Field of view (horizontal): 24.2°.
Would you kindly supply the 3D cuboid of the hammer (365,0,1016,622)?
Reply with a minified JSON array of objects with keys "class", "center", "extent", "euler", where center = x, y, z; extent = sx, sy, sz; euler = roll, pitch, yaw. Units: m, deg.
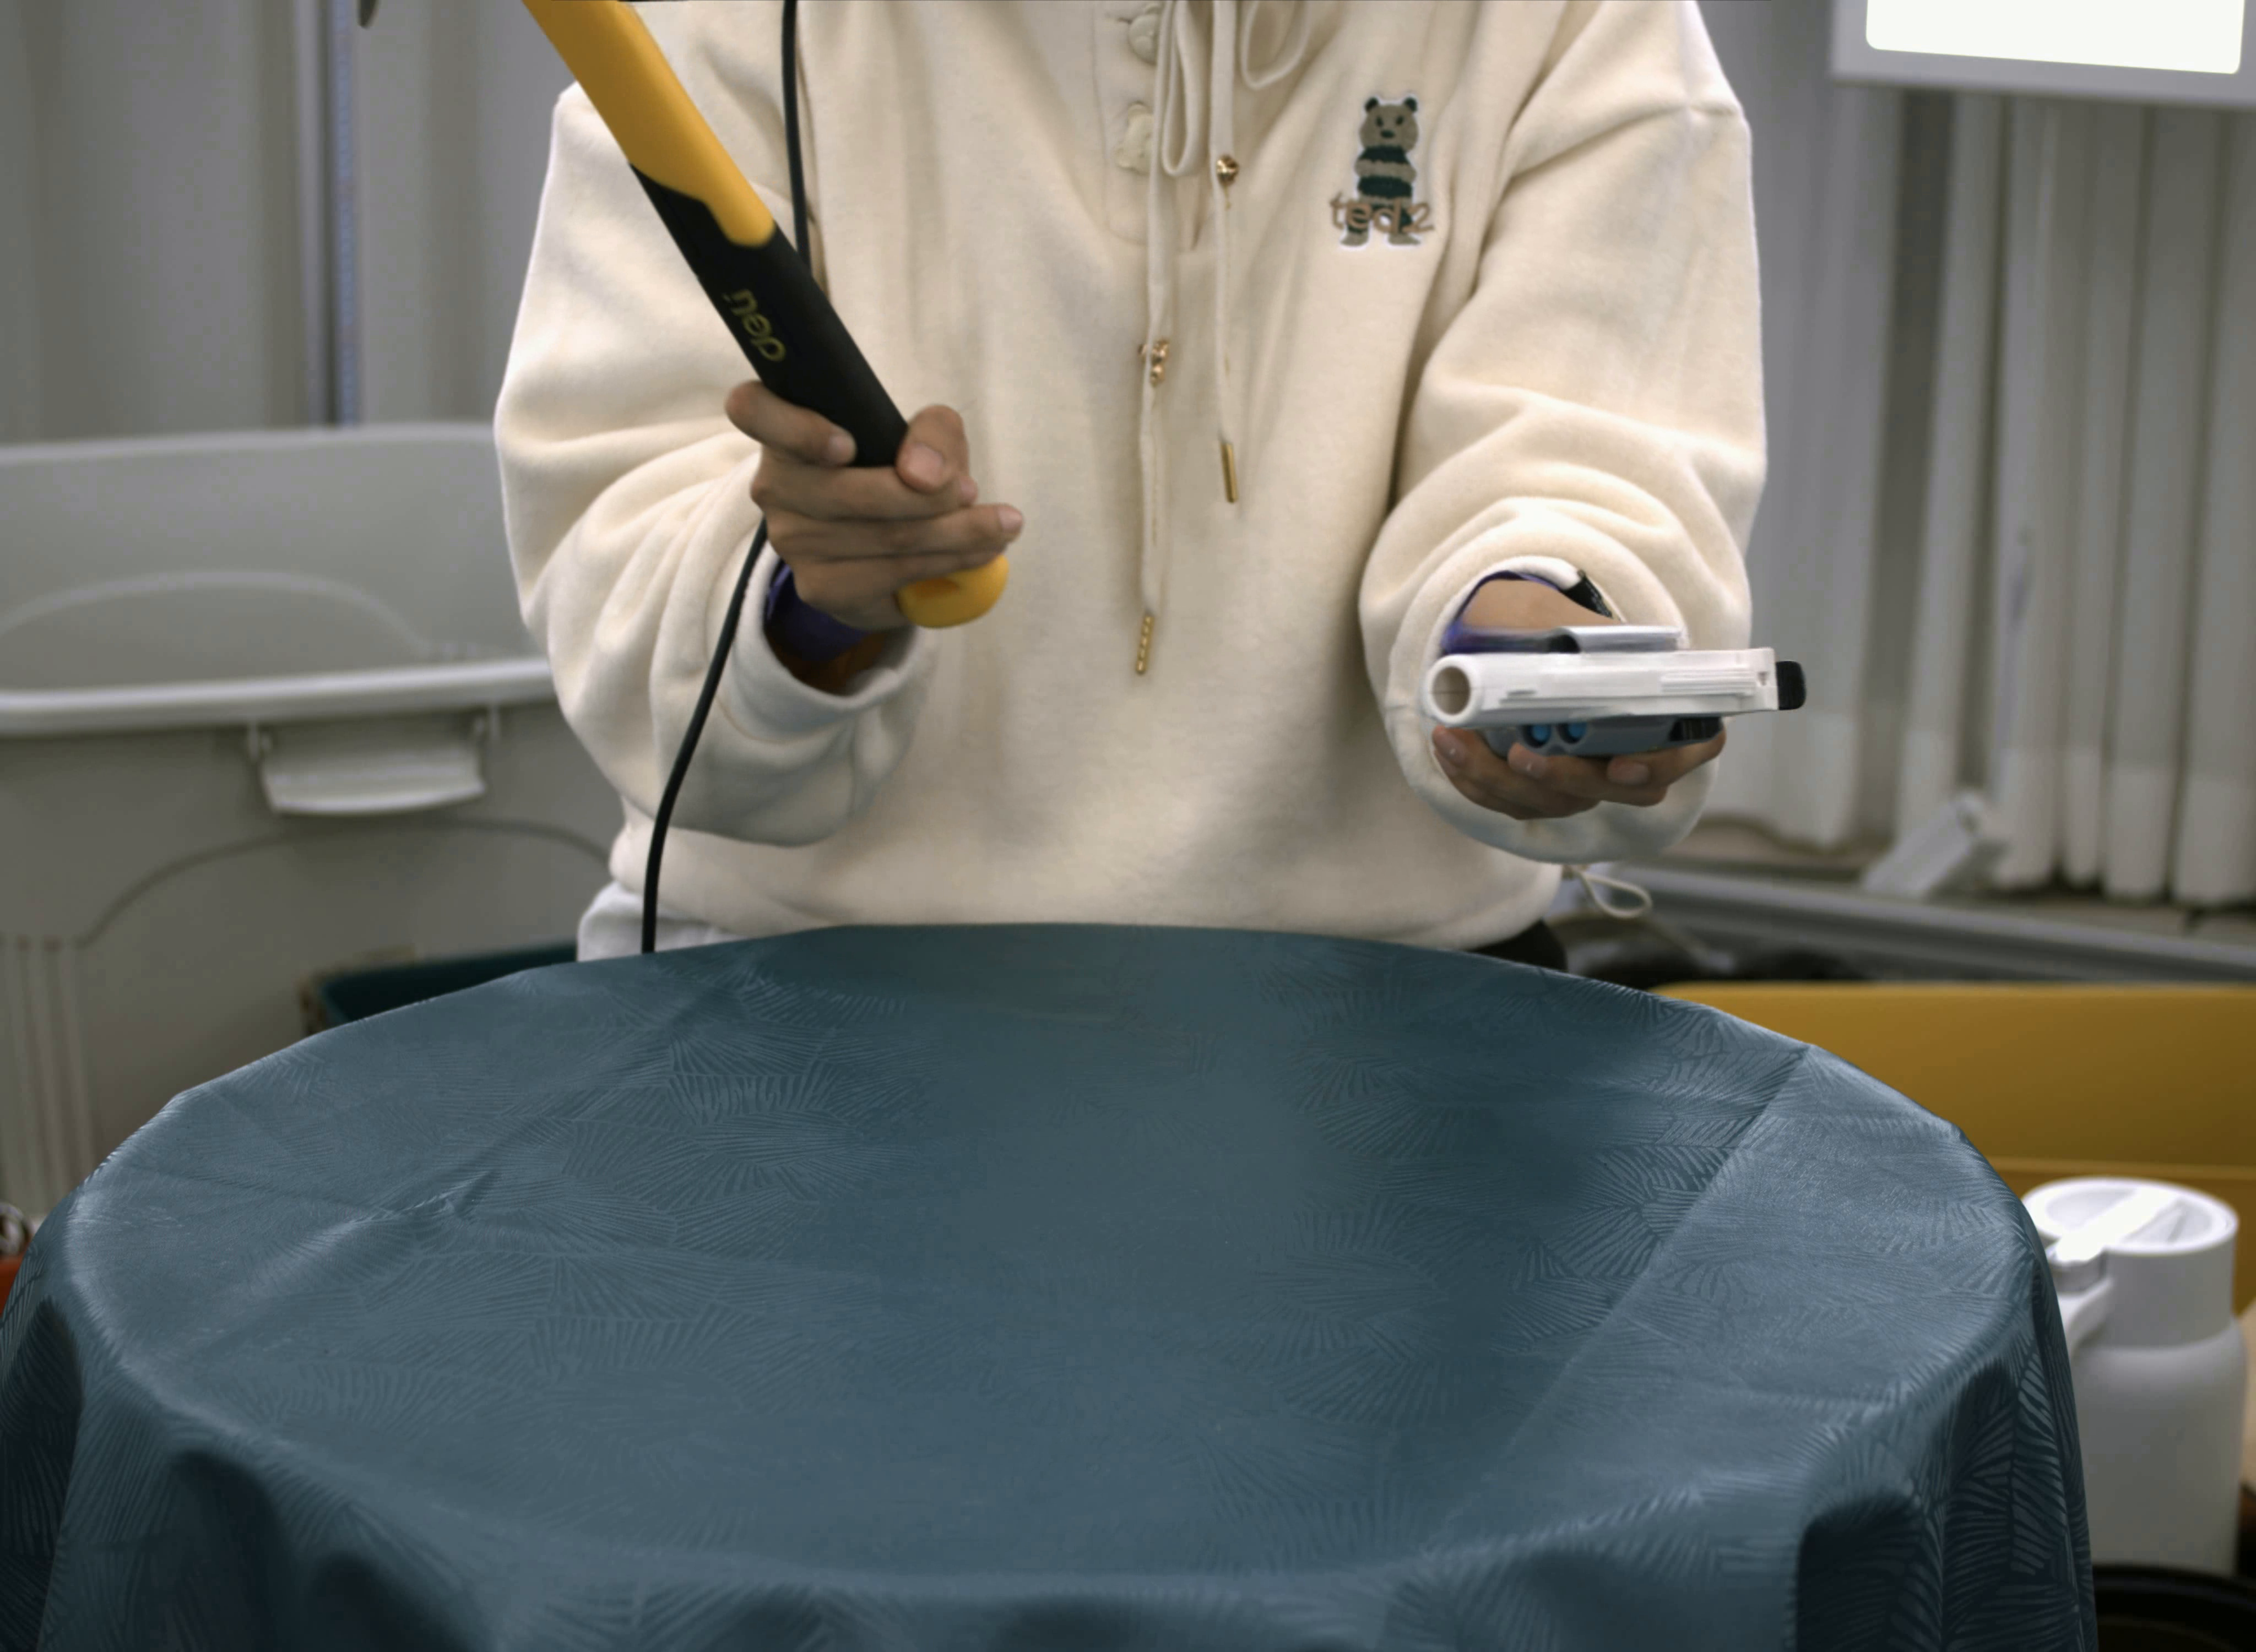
[{"class":"hammer","center":[-0.126,-0.192,1.672],"extent":[0.130,0.343,0.032],"euler":[-11,42,27]}]

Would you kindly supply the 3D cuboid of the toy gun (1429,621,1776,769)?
[{"class":"toy gun","center":[0.120,-0.039,1.575],"extent":[0.140,0.039,0.211],"euler":[-3,-2,38]}]
